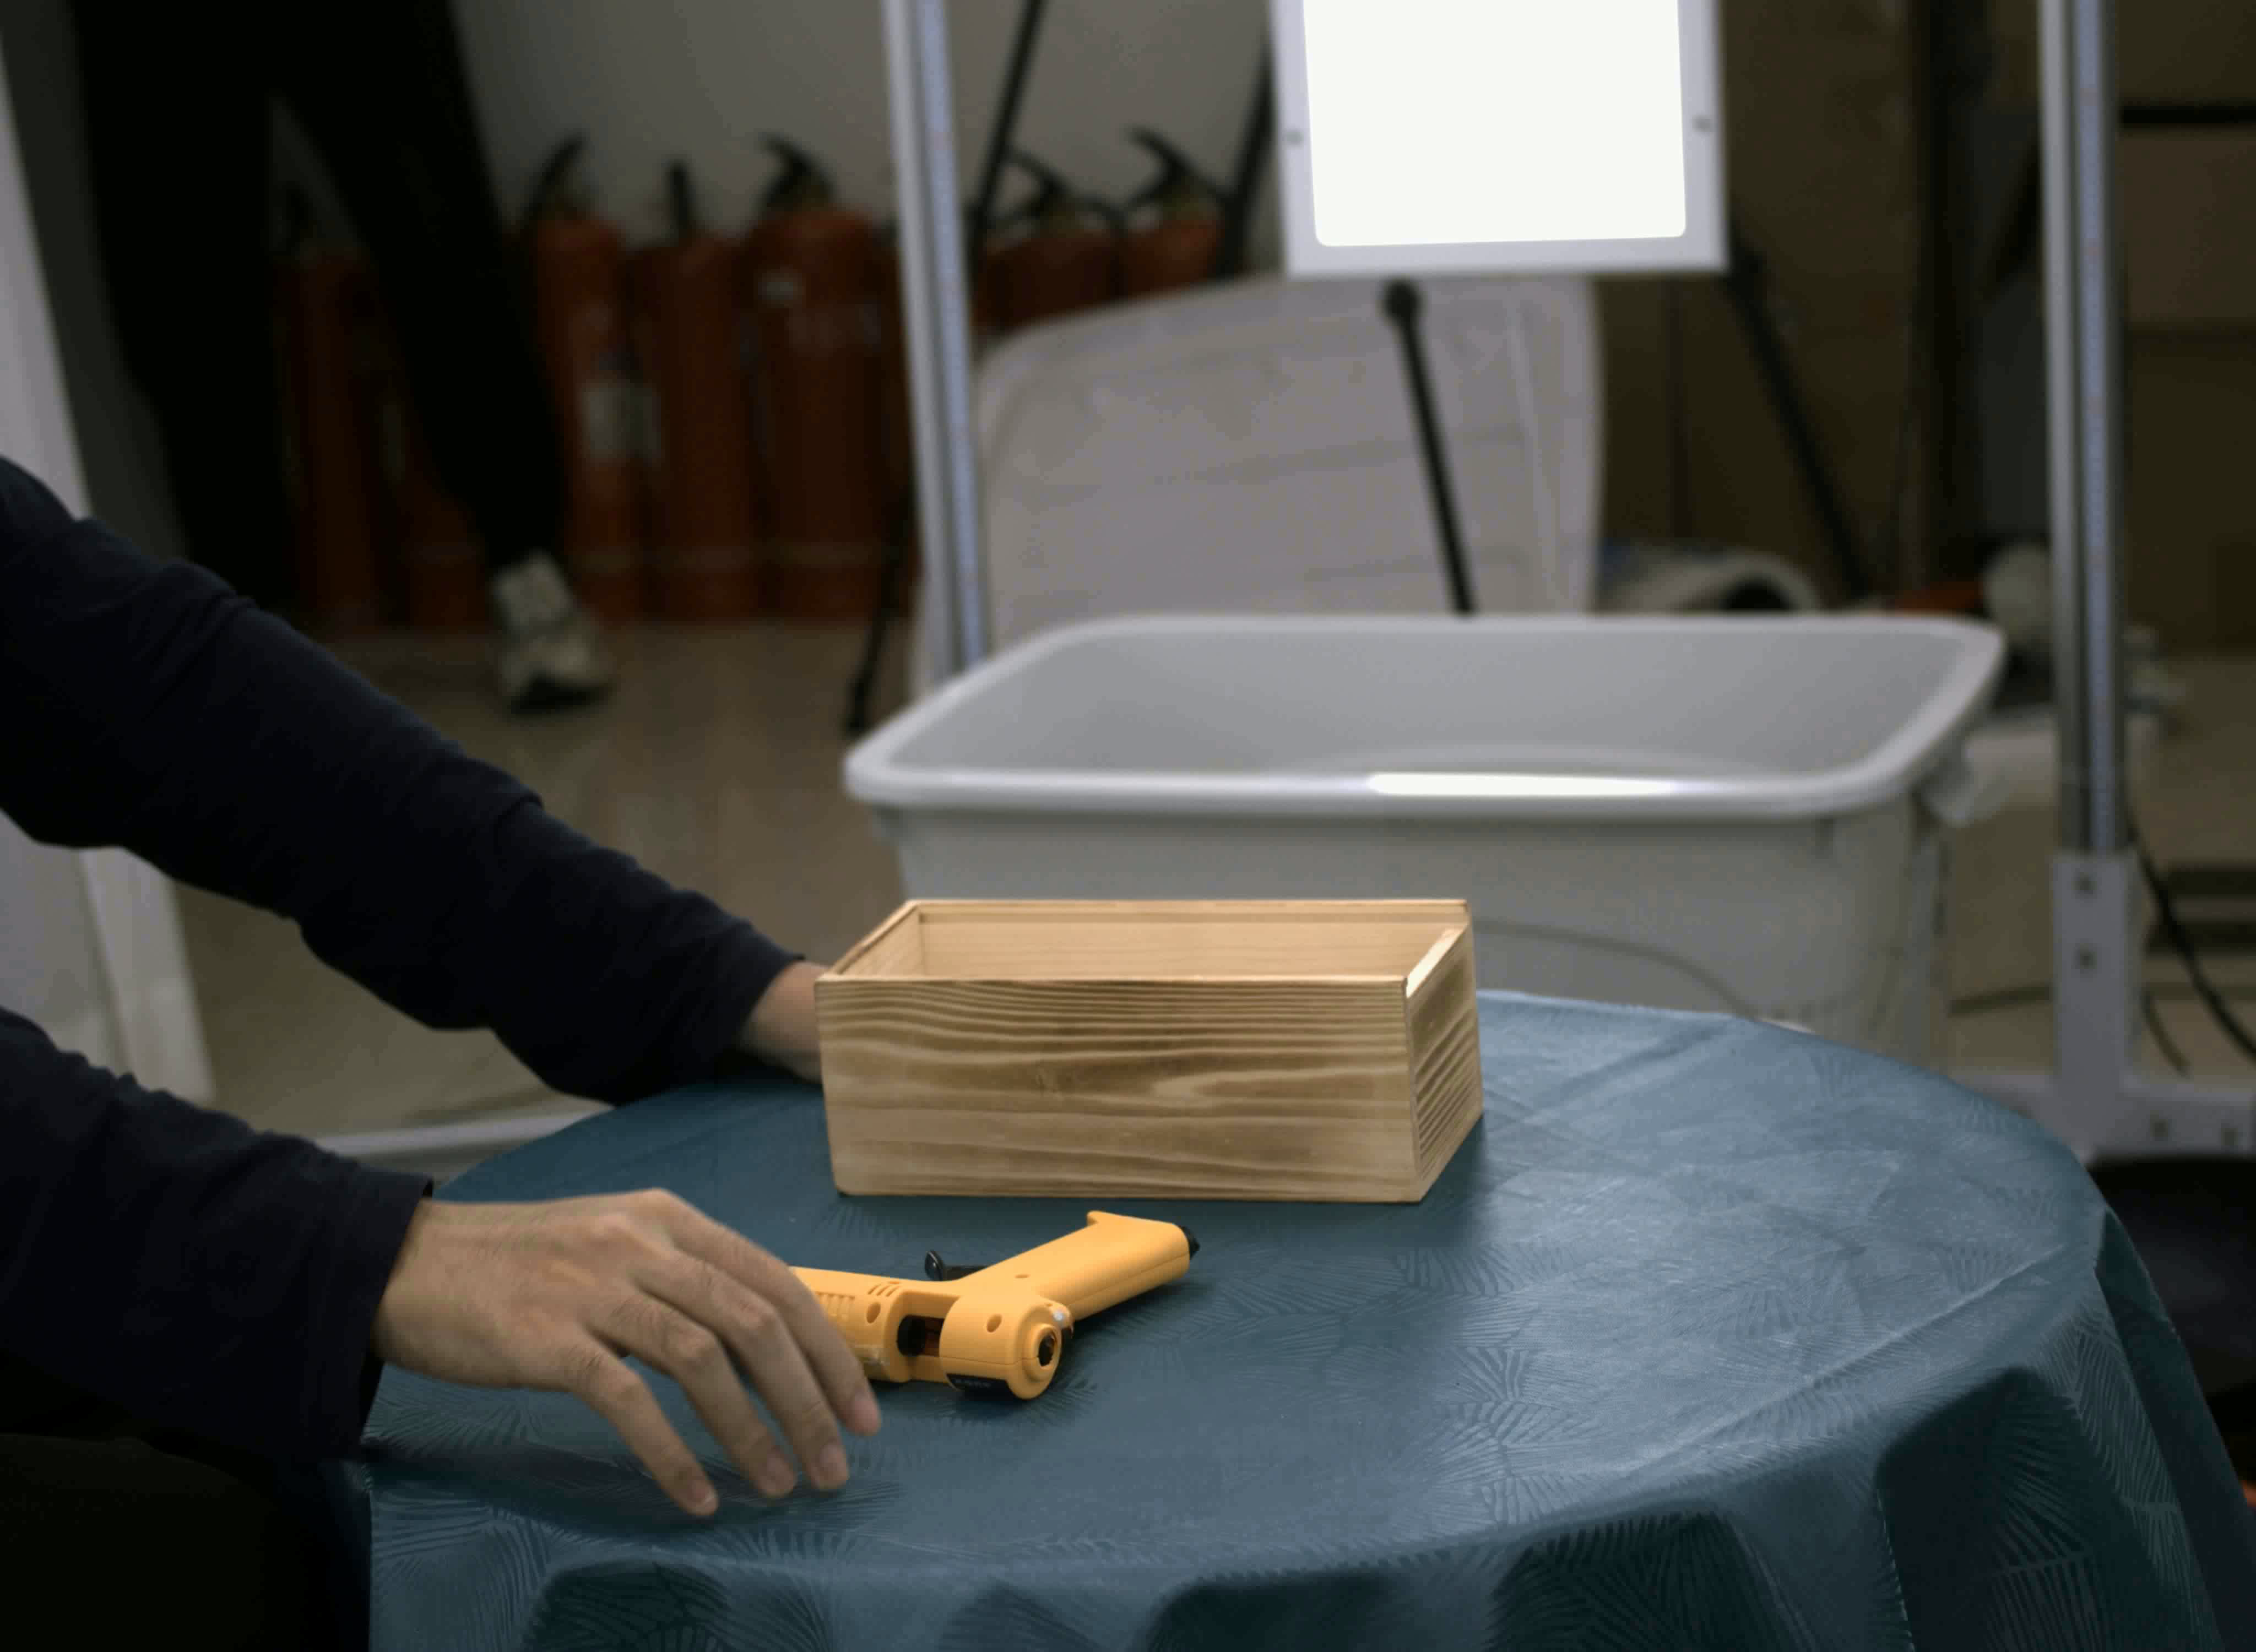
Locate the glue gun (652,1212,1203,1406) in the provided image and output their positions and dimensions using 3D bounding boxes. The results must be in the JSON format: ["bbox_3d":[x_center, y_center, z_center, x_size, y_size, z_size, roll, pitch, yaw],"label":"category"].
[{"bbox_3d":[-0.069,0.149,1.779,0.154,0.031,0.130,3,15,27],"label":"glue gun"}]

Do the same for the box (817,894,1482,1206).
[{"bbox_3d":[0.009,0.077,1.930,0.214,0.080,0.106,0,15,19],"label":"box"}]
